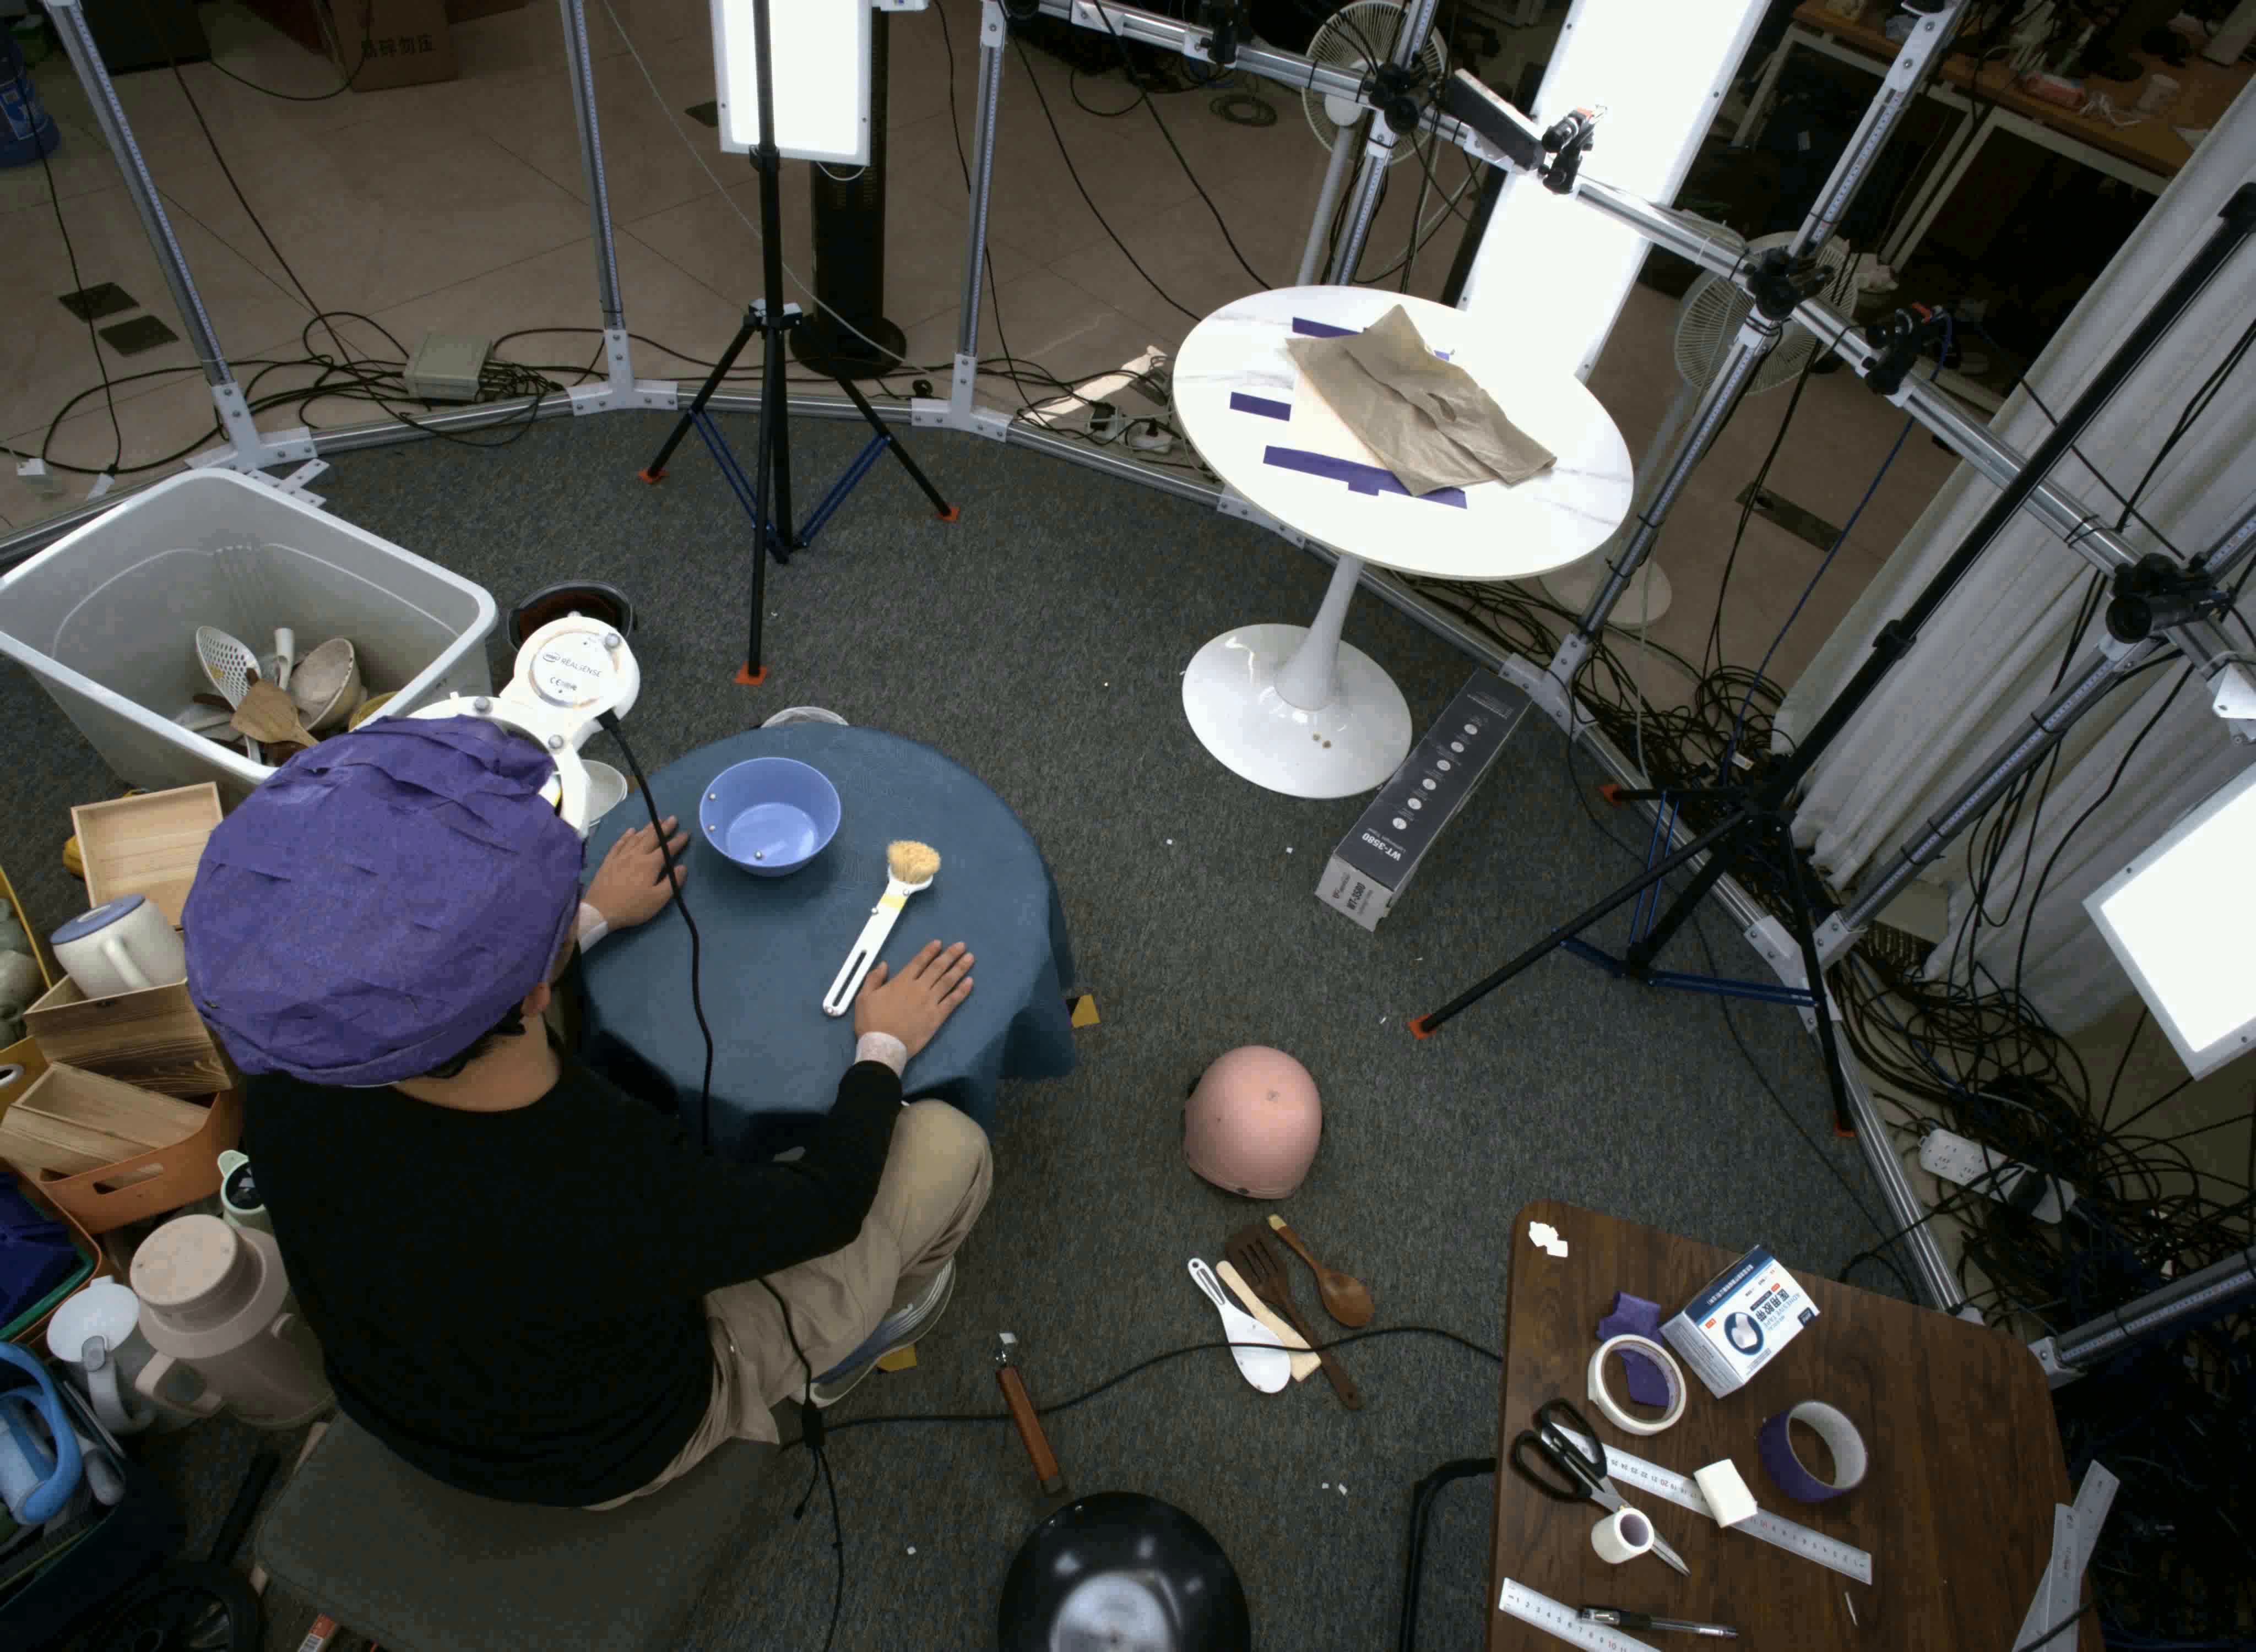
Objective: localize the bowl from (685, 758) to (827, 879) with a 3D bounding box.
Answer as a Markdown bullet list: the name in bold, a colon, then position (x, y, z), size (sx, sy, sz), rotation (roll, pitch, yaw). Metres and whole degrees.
- **bowl**: position (-0.474, 0.000, 1.659), size (0.175, 0.072, 0.173), rotation (7, 53, -8)

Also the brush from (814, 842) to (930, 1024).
- **brush**: position (-0.322, 0.123, 1.619), size (0.067, 0.057, 0.264), rotation (19, 52, 7)
